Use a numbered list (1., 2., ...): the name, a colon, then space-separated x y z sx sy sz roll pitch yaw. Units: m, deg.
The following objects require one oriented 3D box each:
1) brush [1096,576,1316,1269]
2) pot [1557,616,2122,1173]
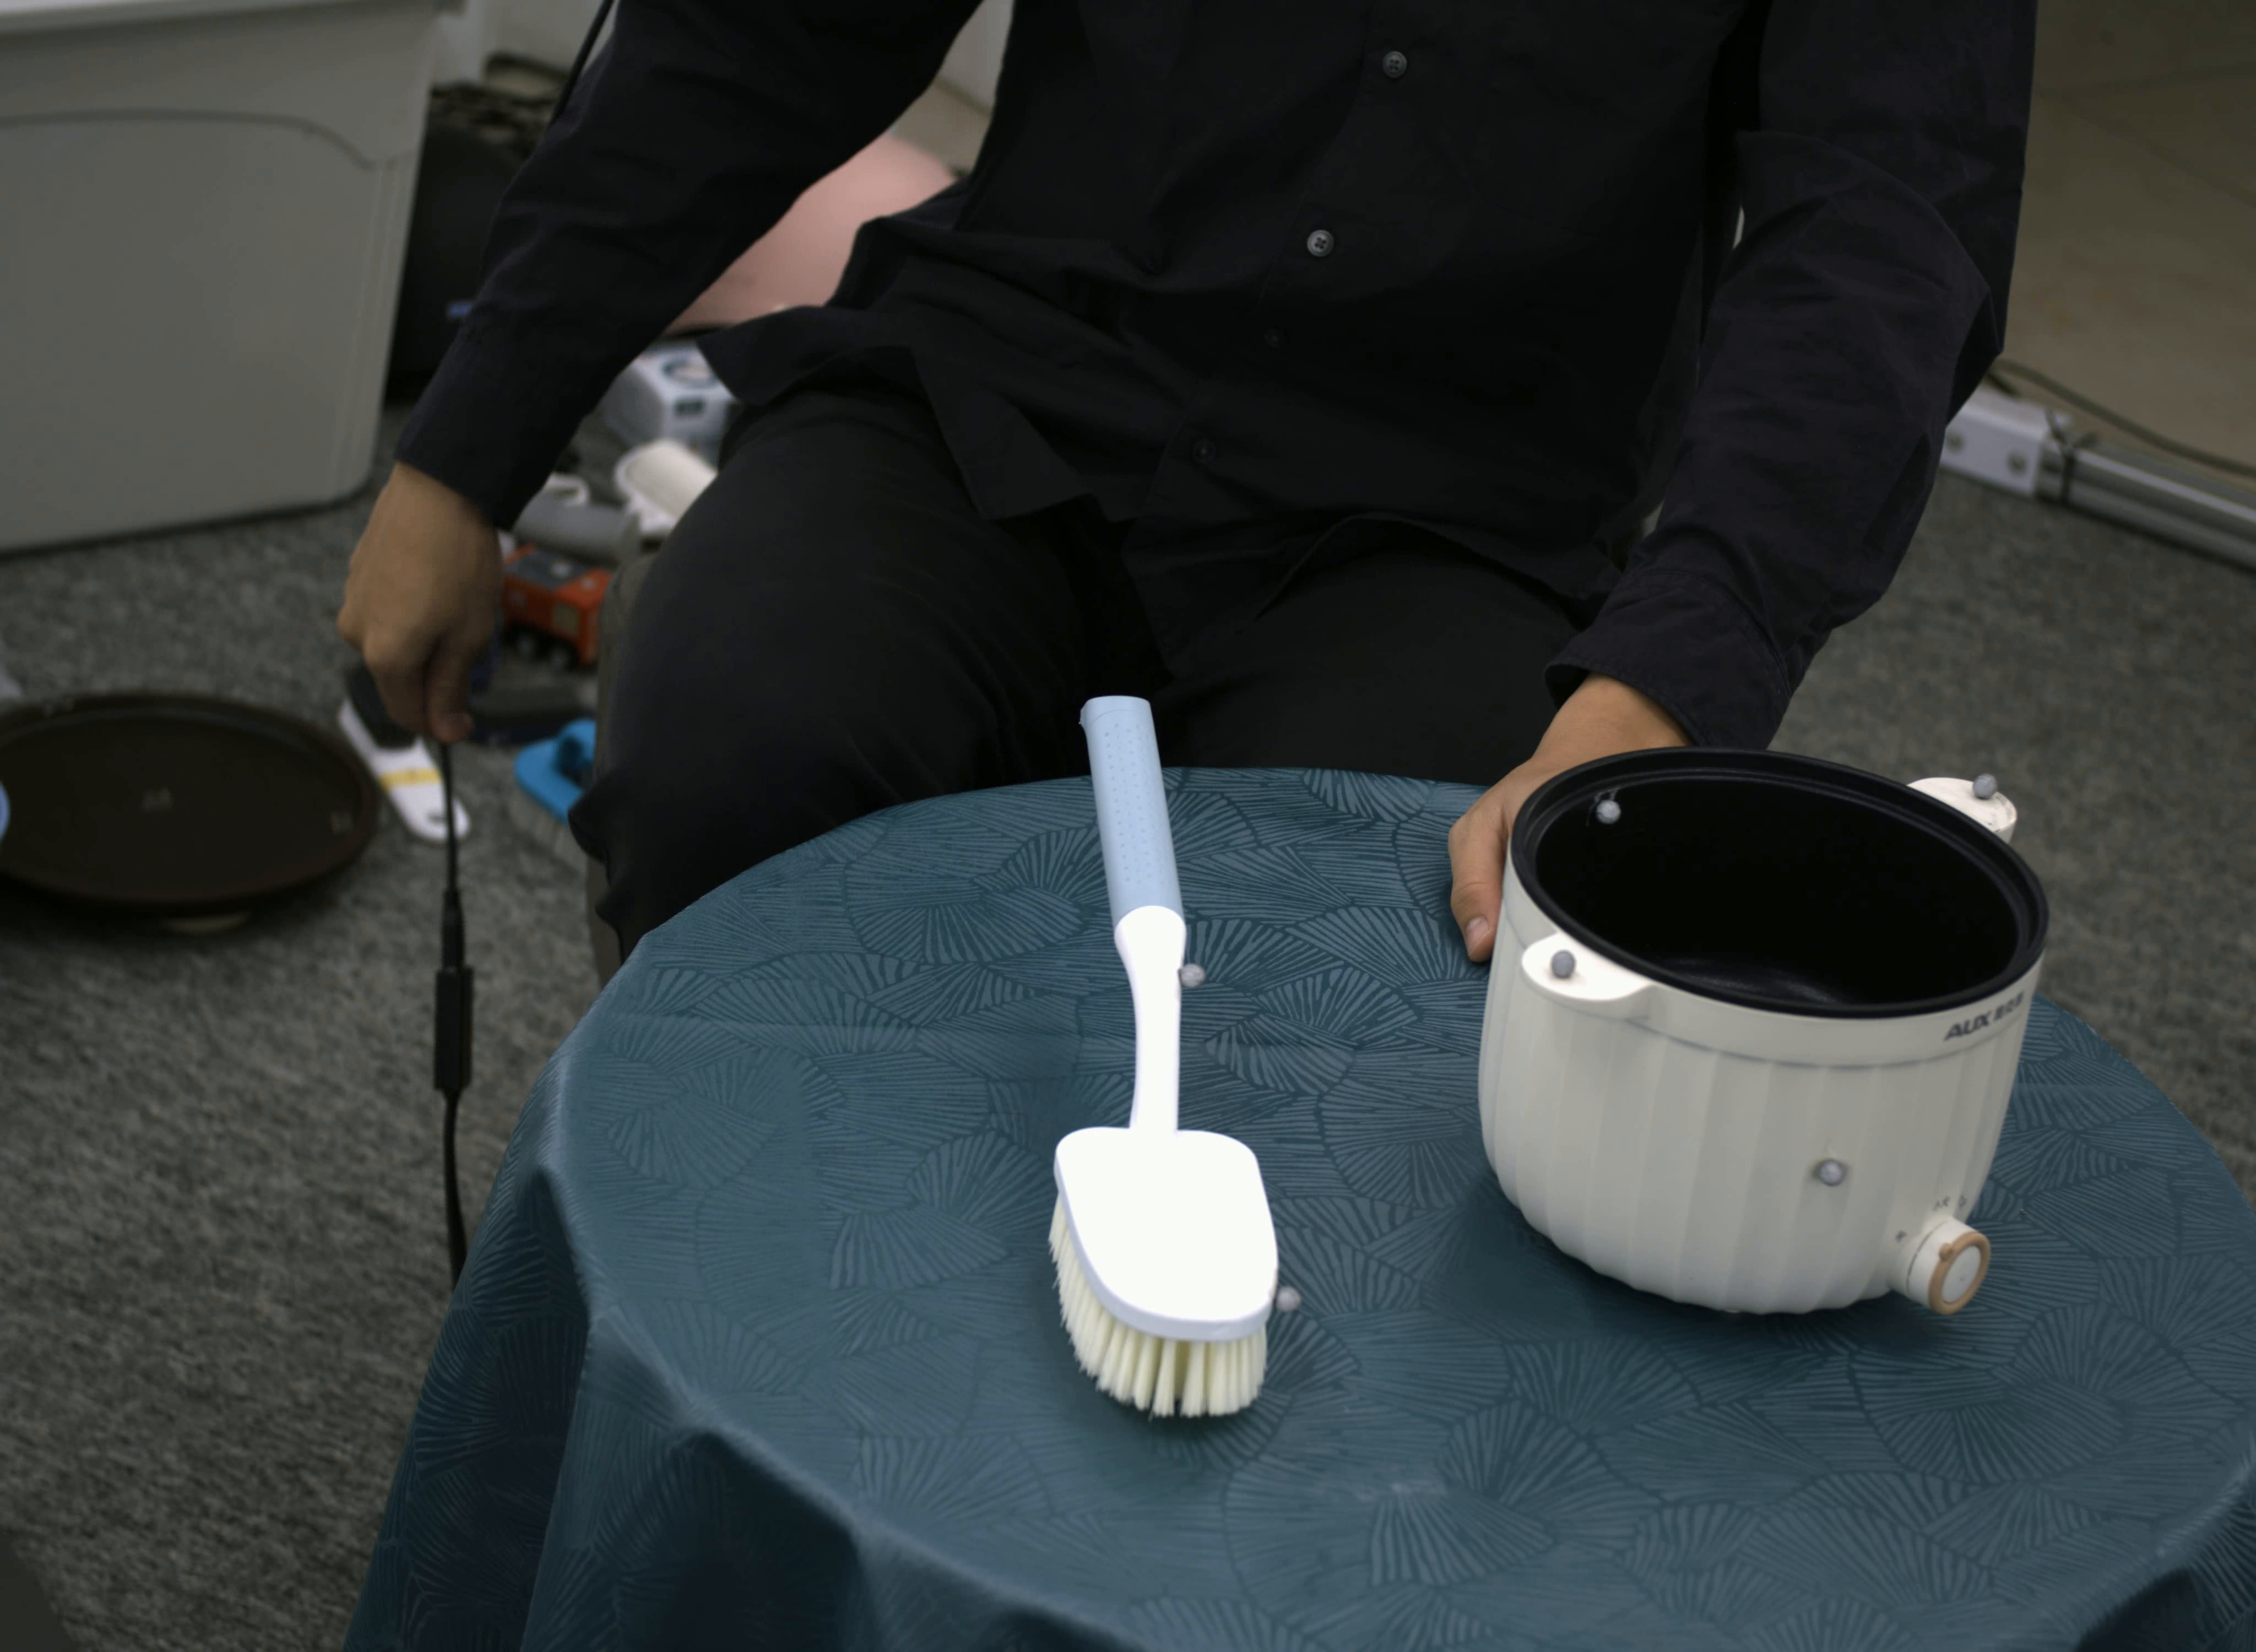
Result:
1. brush: 0.023 0.041 1.821 0.082 0.084 0.328 35 28 -29
2. pot: 0.242 0.030 1.819 0.192 0.142 0.239 26 34 37
